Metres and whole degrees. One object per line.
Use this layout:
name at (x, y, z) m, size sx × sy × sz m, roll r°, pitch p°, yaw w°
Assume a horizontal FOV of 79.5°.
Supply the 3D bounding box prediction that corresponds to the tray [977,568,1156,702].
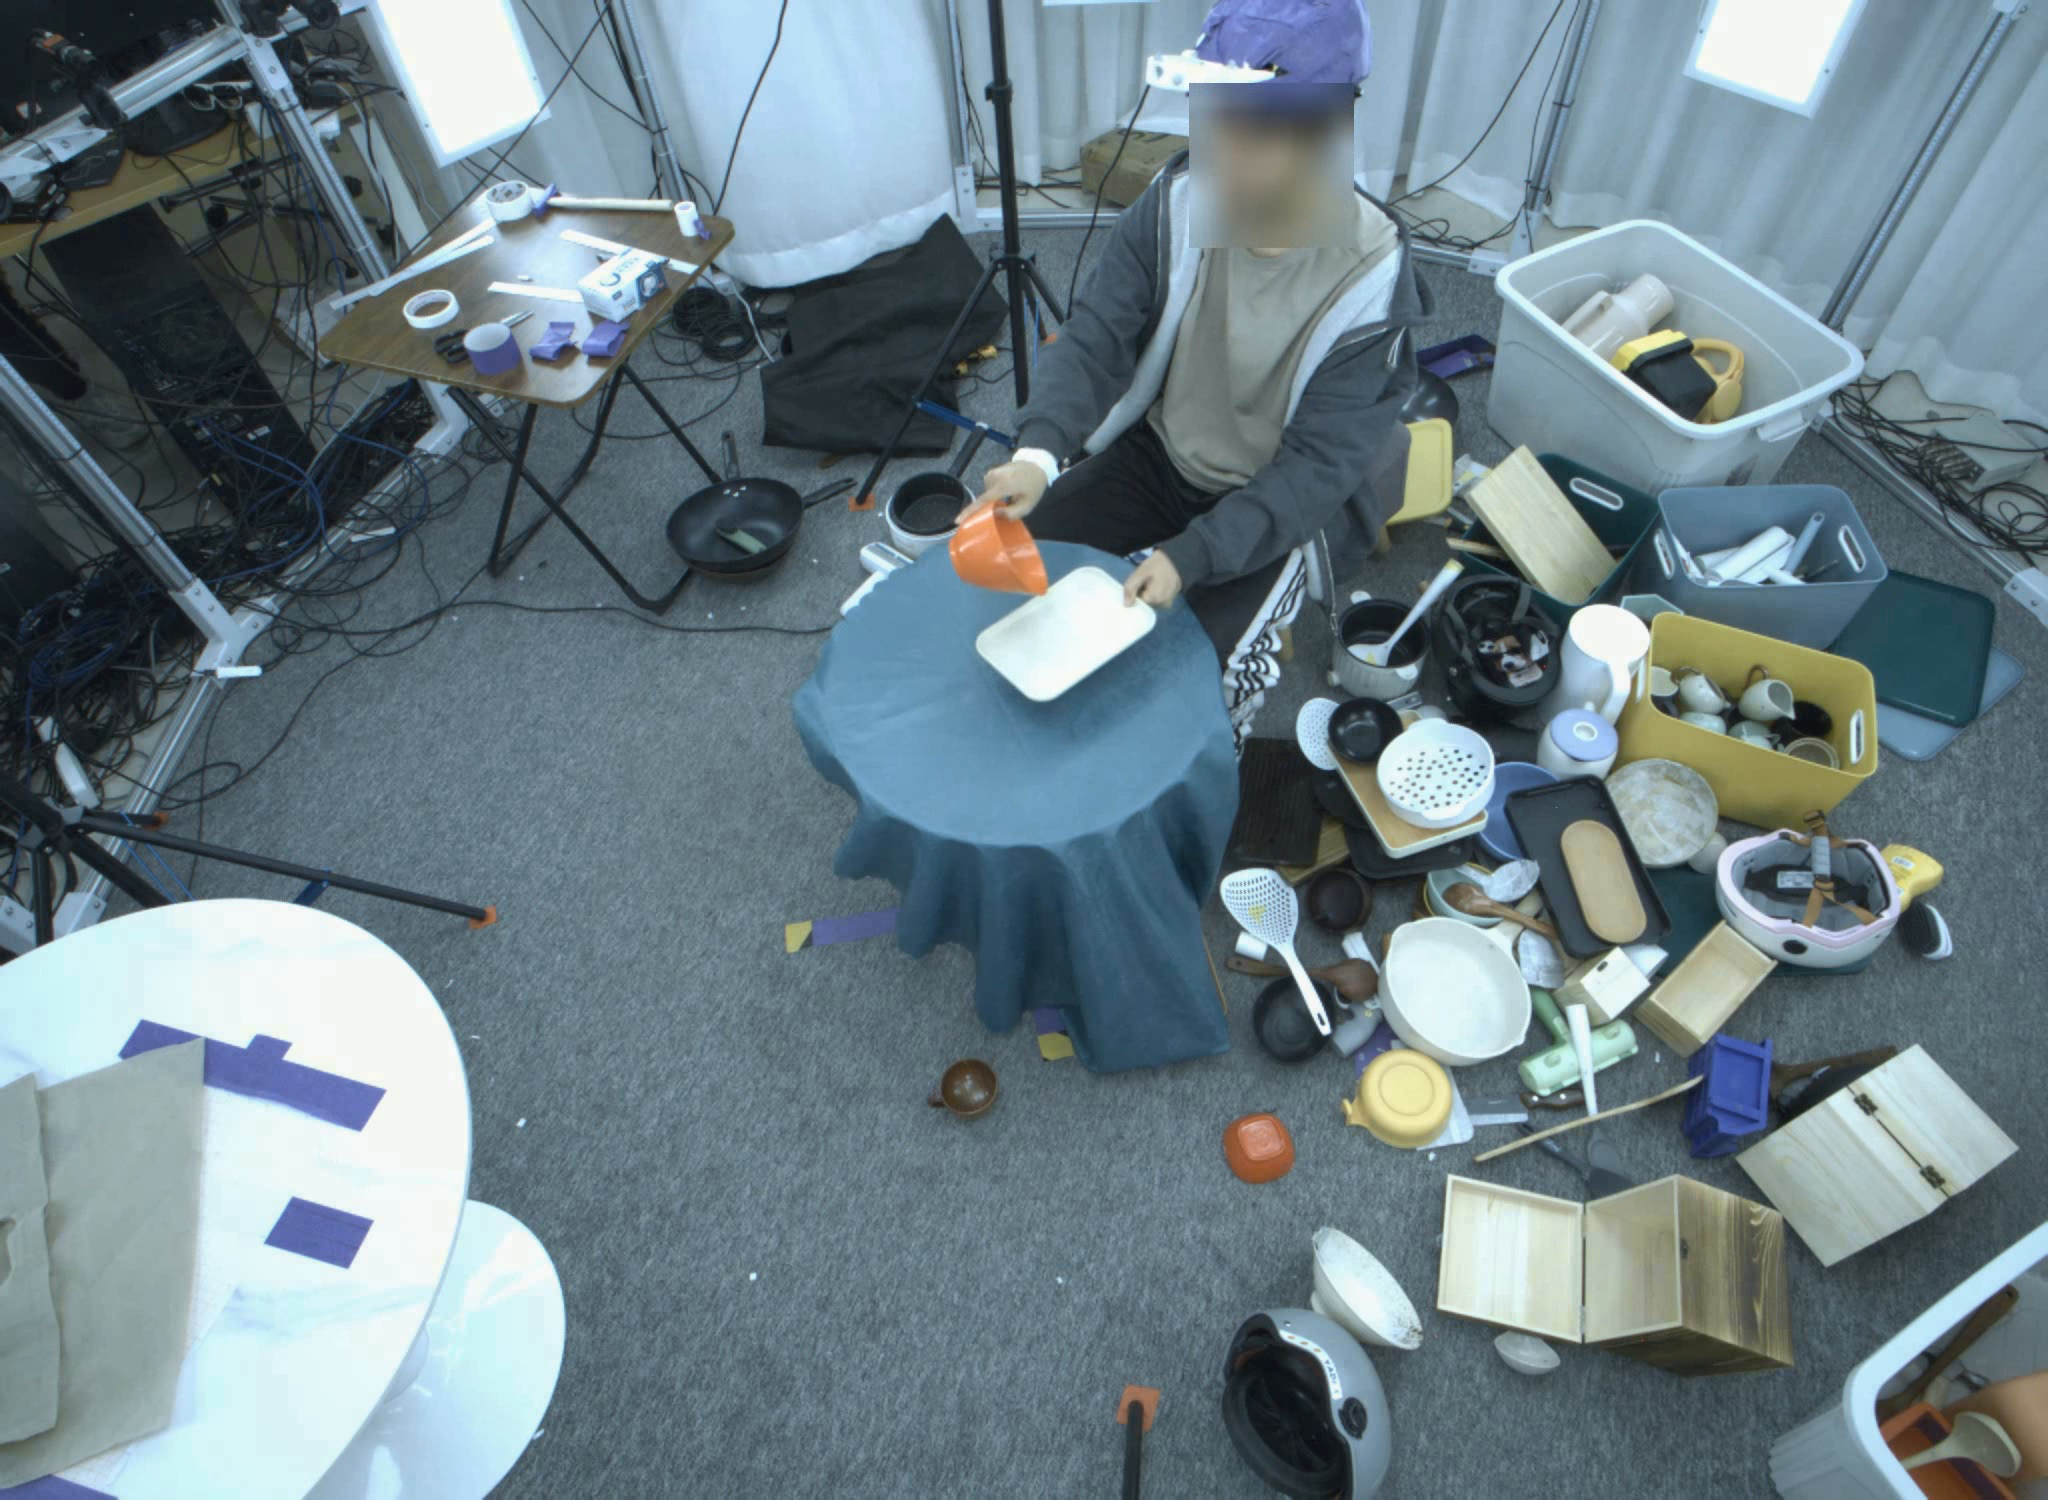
tray at (0.063, -0.171, 1.815) m, size 0.241 × 0.018 × 0.168 m, roll -36°, pitch 58°, yaw -19°

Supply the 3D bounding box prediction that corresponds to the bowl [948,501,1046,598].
bowl at (-0.044, -0.272, 1.733) m, size 0.103 × 0.151 × 0.146 m, roll -15°, pitch 53°, yaw 17°
